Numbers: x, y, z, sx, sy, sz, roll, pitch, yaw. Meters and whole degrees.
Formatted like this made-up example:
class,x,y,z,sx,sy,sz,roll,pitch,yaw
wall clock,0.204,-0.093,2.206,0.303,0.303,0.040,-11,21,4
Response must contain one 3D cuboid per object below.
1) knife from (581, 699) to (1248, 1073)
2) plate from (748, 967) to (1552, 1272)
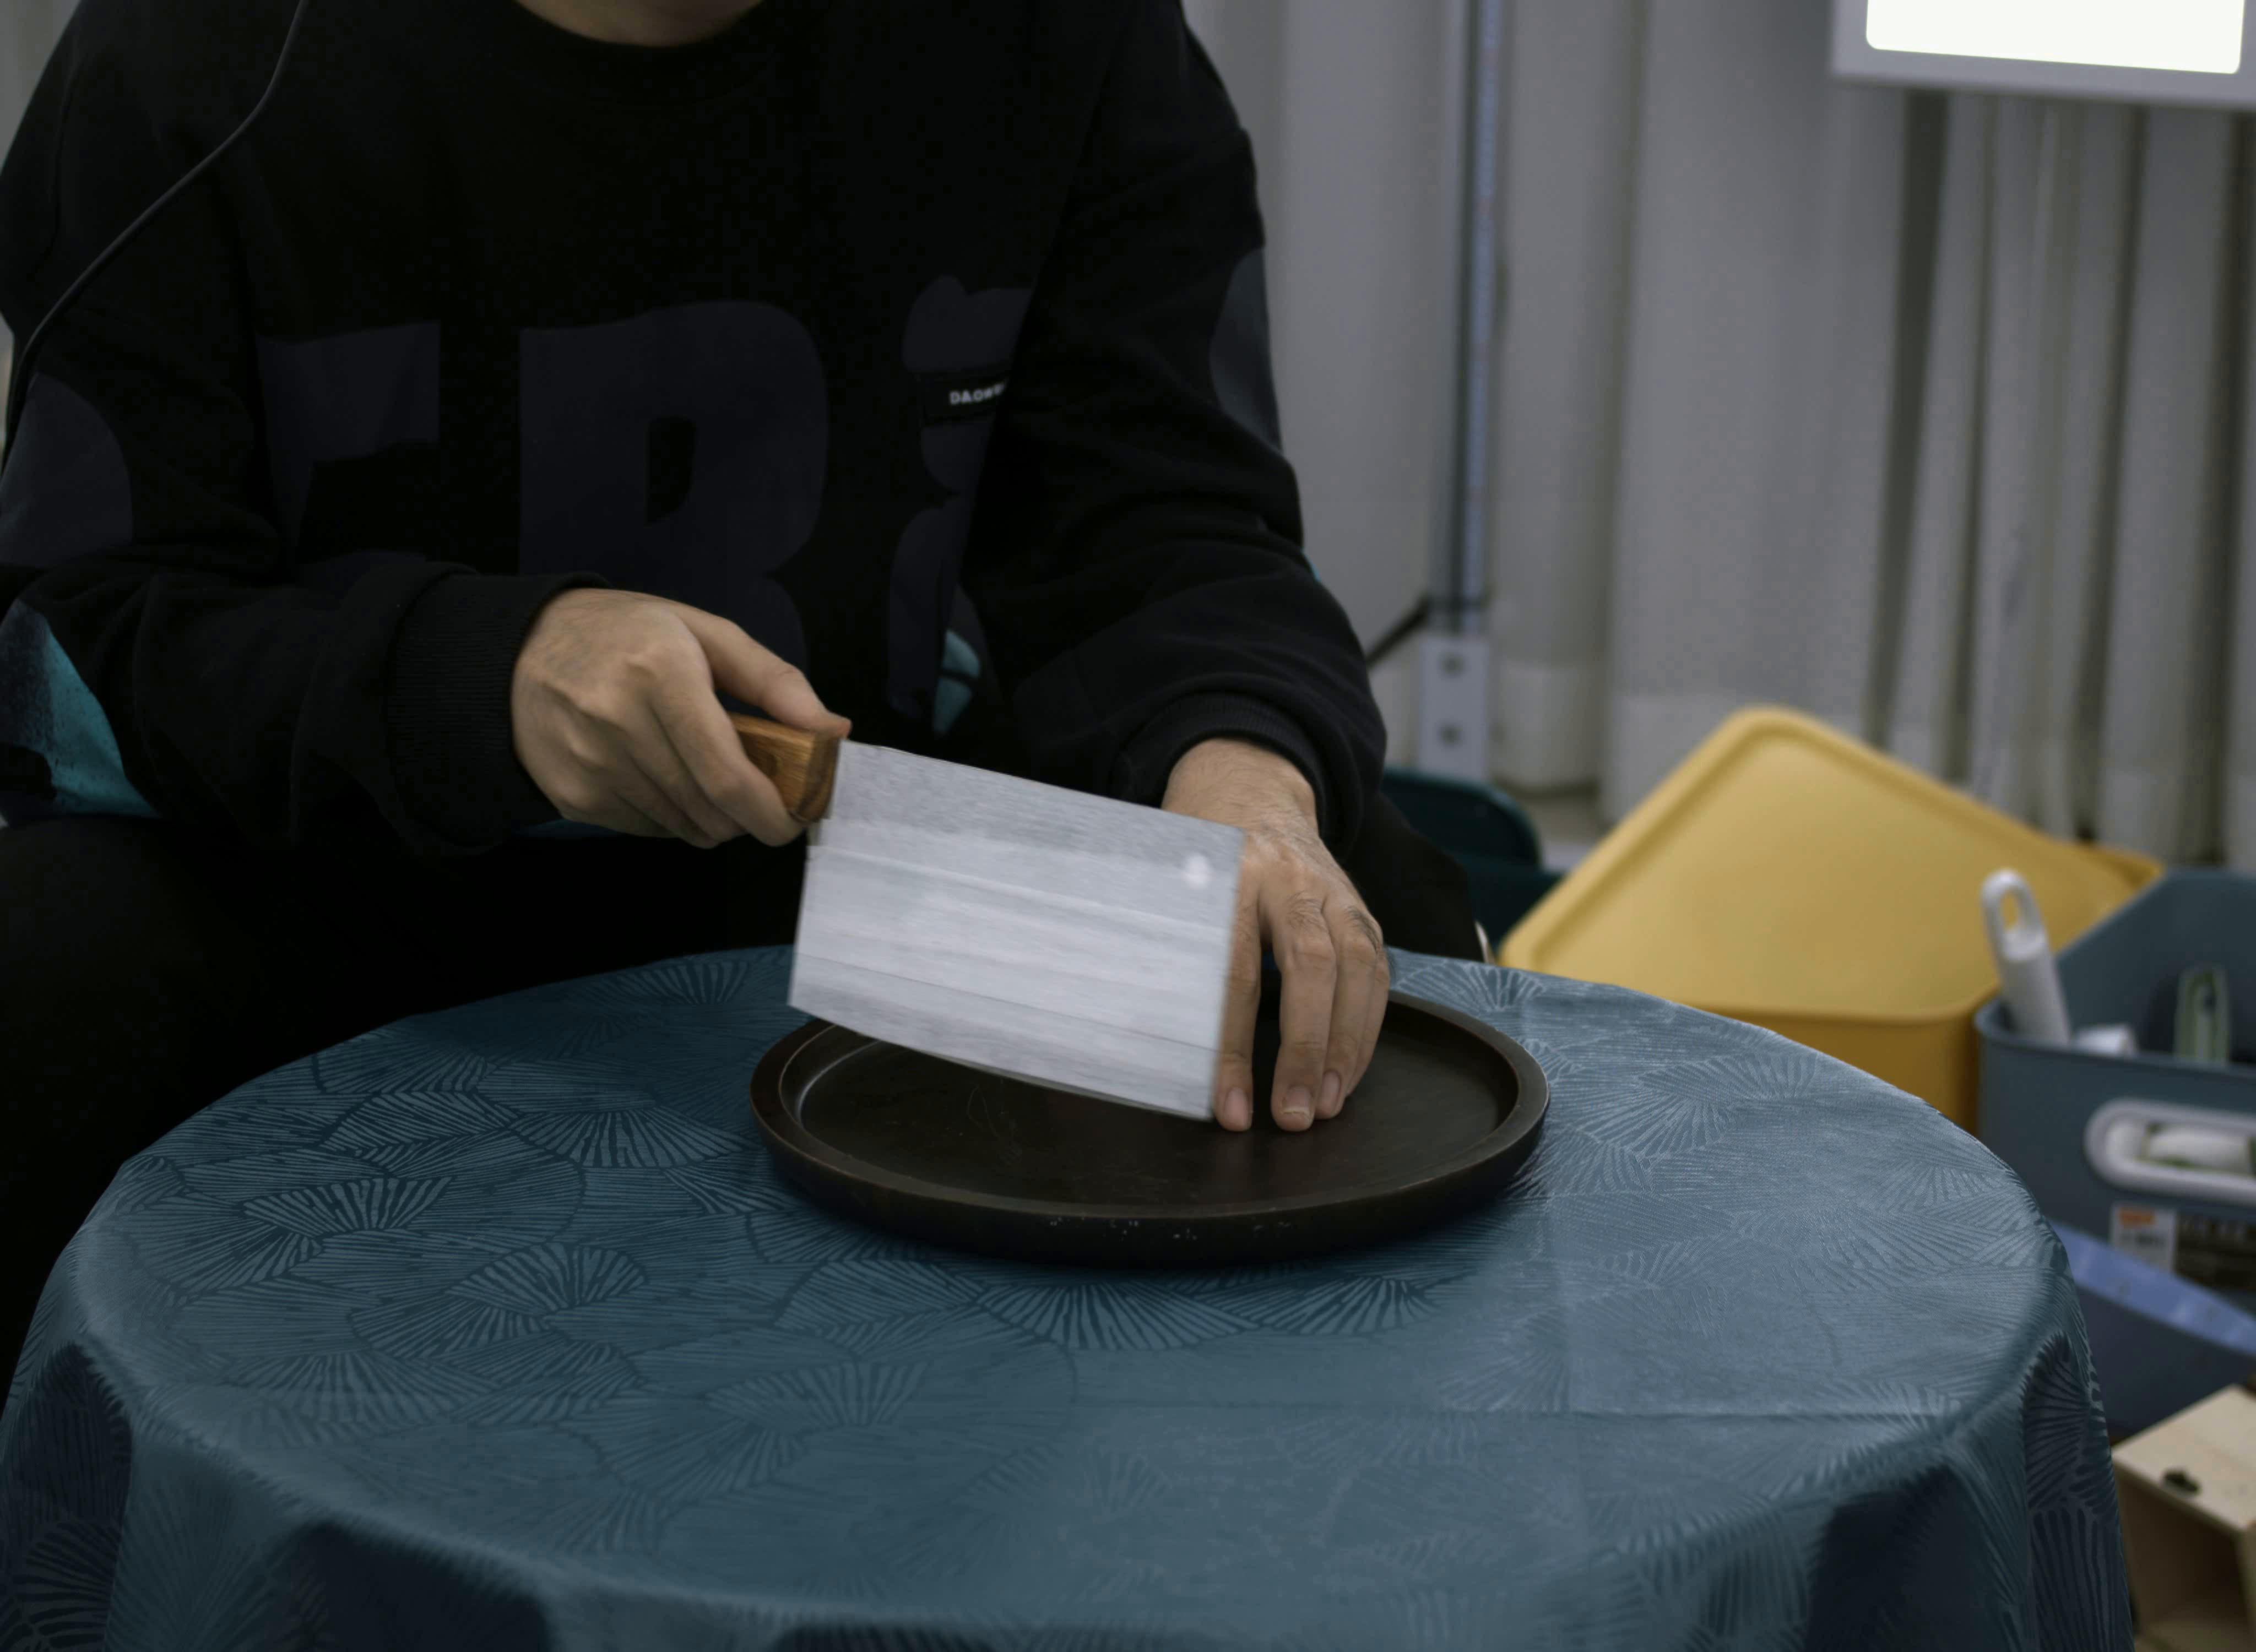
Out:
class,x,y,z,sx,sy,sz,roll,pitch,yaw
knife,-0.073,0.019,1.661,0.302,0.093,0.021,13,11,43
plate,0.007,0.089,1.659,0.254,0.029,0.253,0,17,1
